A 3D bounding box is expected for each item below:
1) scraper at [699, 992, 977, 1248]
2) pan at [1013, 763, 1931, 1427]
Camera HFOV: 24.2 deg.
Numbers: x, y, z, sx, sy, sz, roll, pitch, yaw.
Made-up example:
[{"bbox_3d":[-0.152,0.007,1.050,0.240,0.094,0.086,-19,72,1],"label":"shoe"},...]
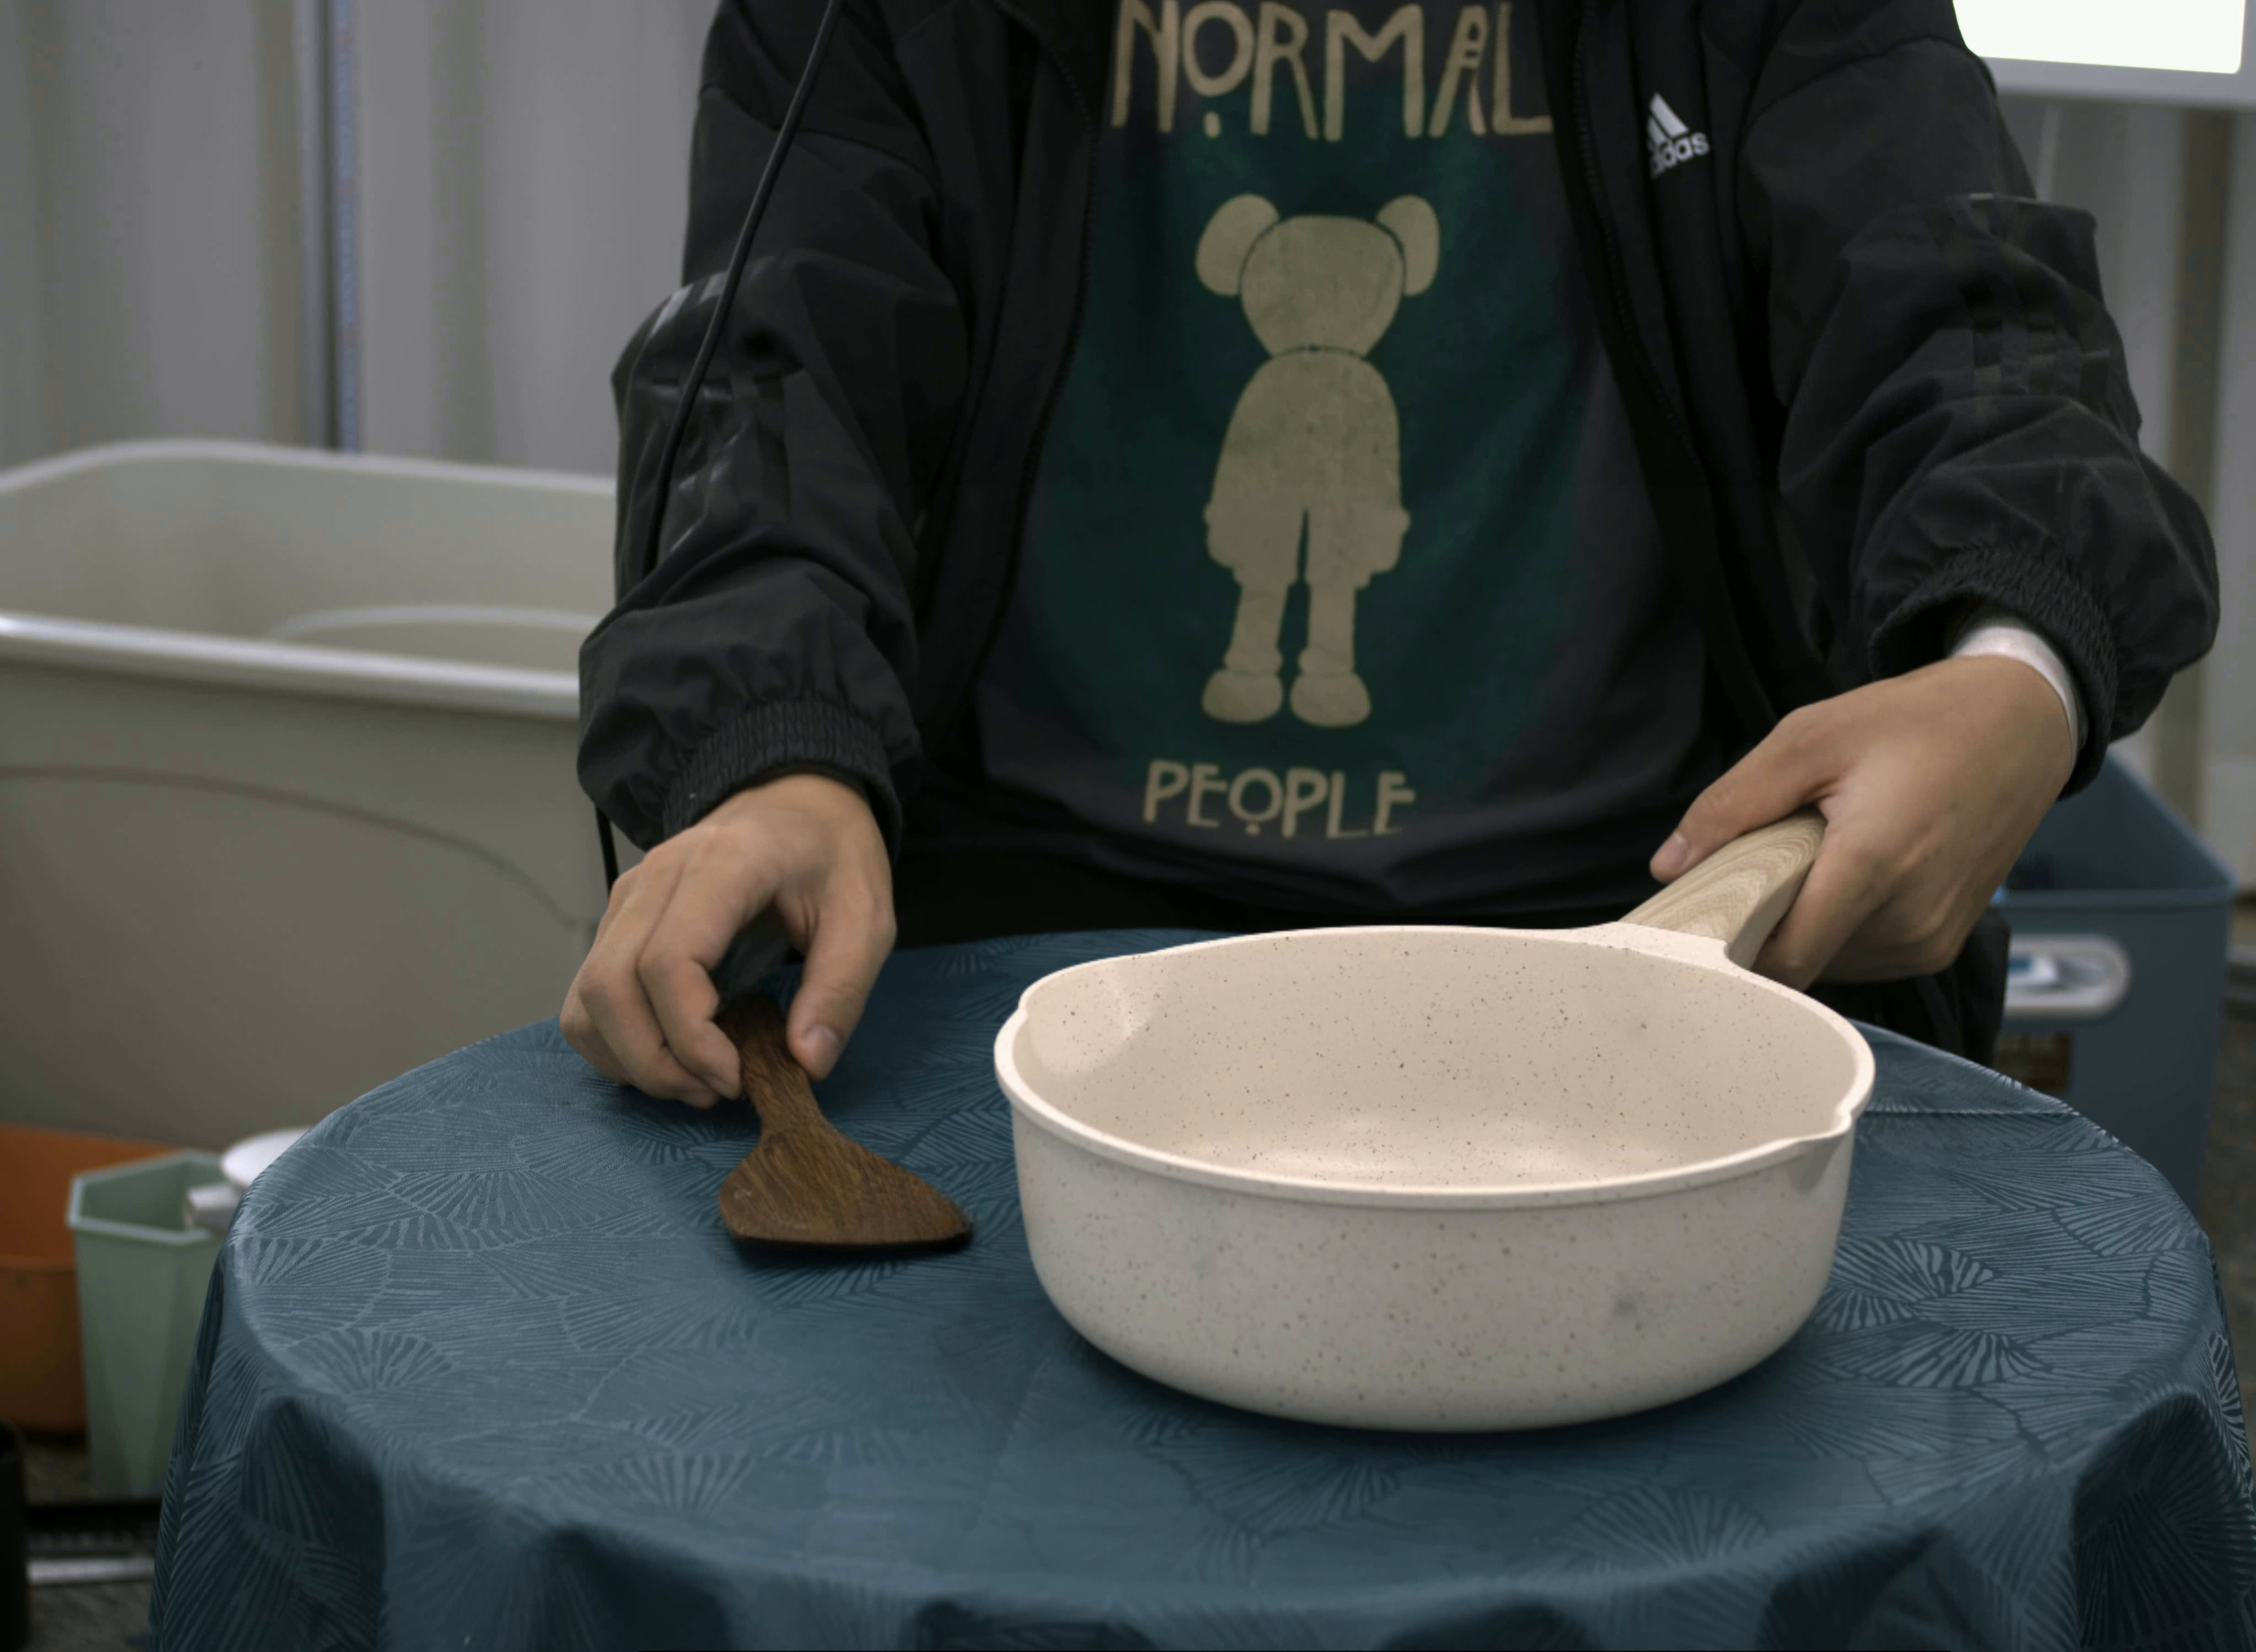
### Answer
[{"bbox_3d":[-0.104,0.091,1.651,0.076,0.011,0.209,4,19,-16],"label":"scraper"},{"bbox_3d":[0.142,0.075,1.581,0.260,0.103,0.436,8,17,32],"label":"pan"}]
